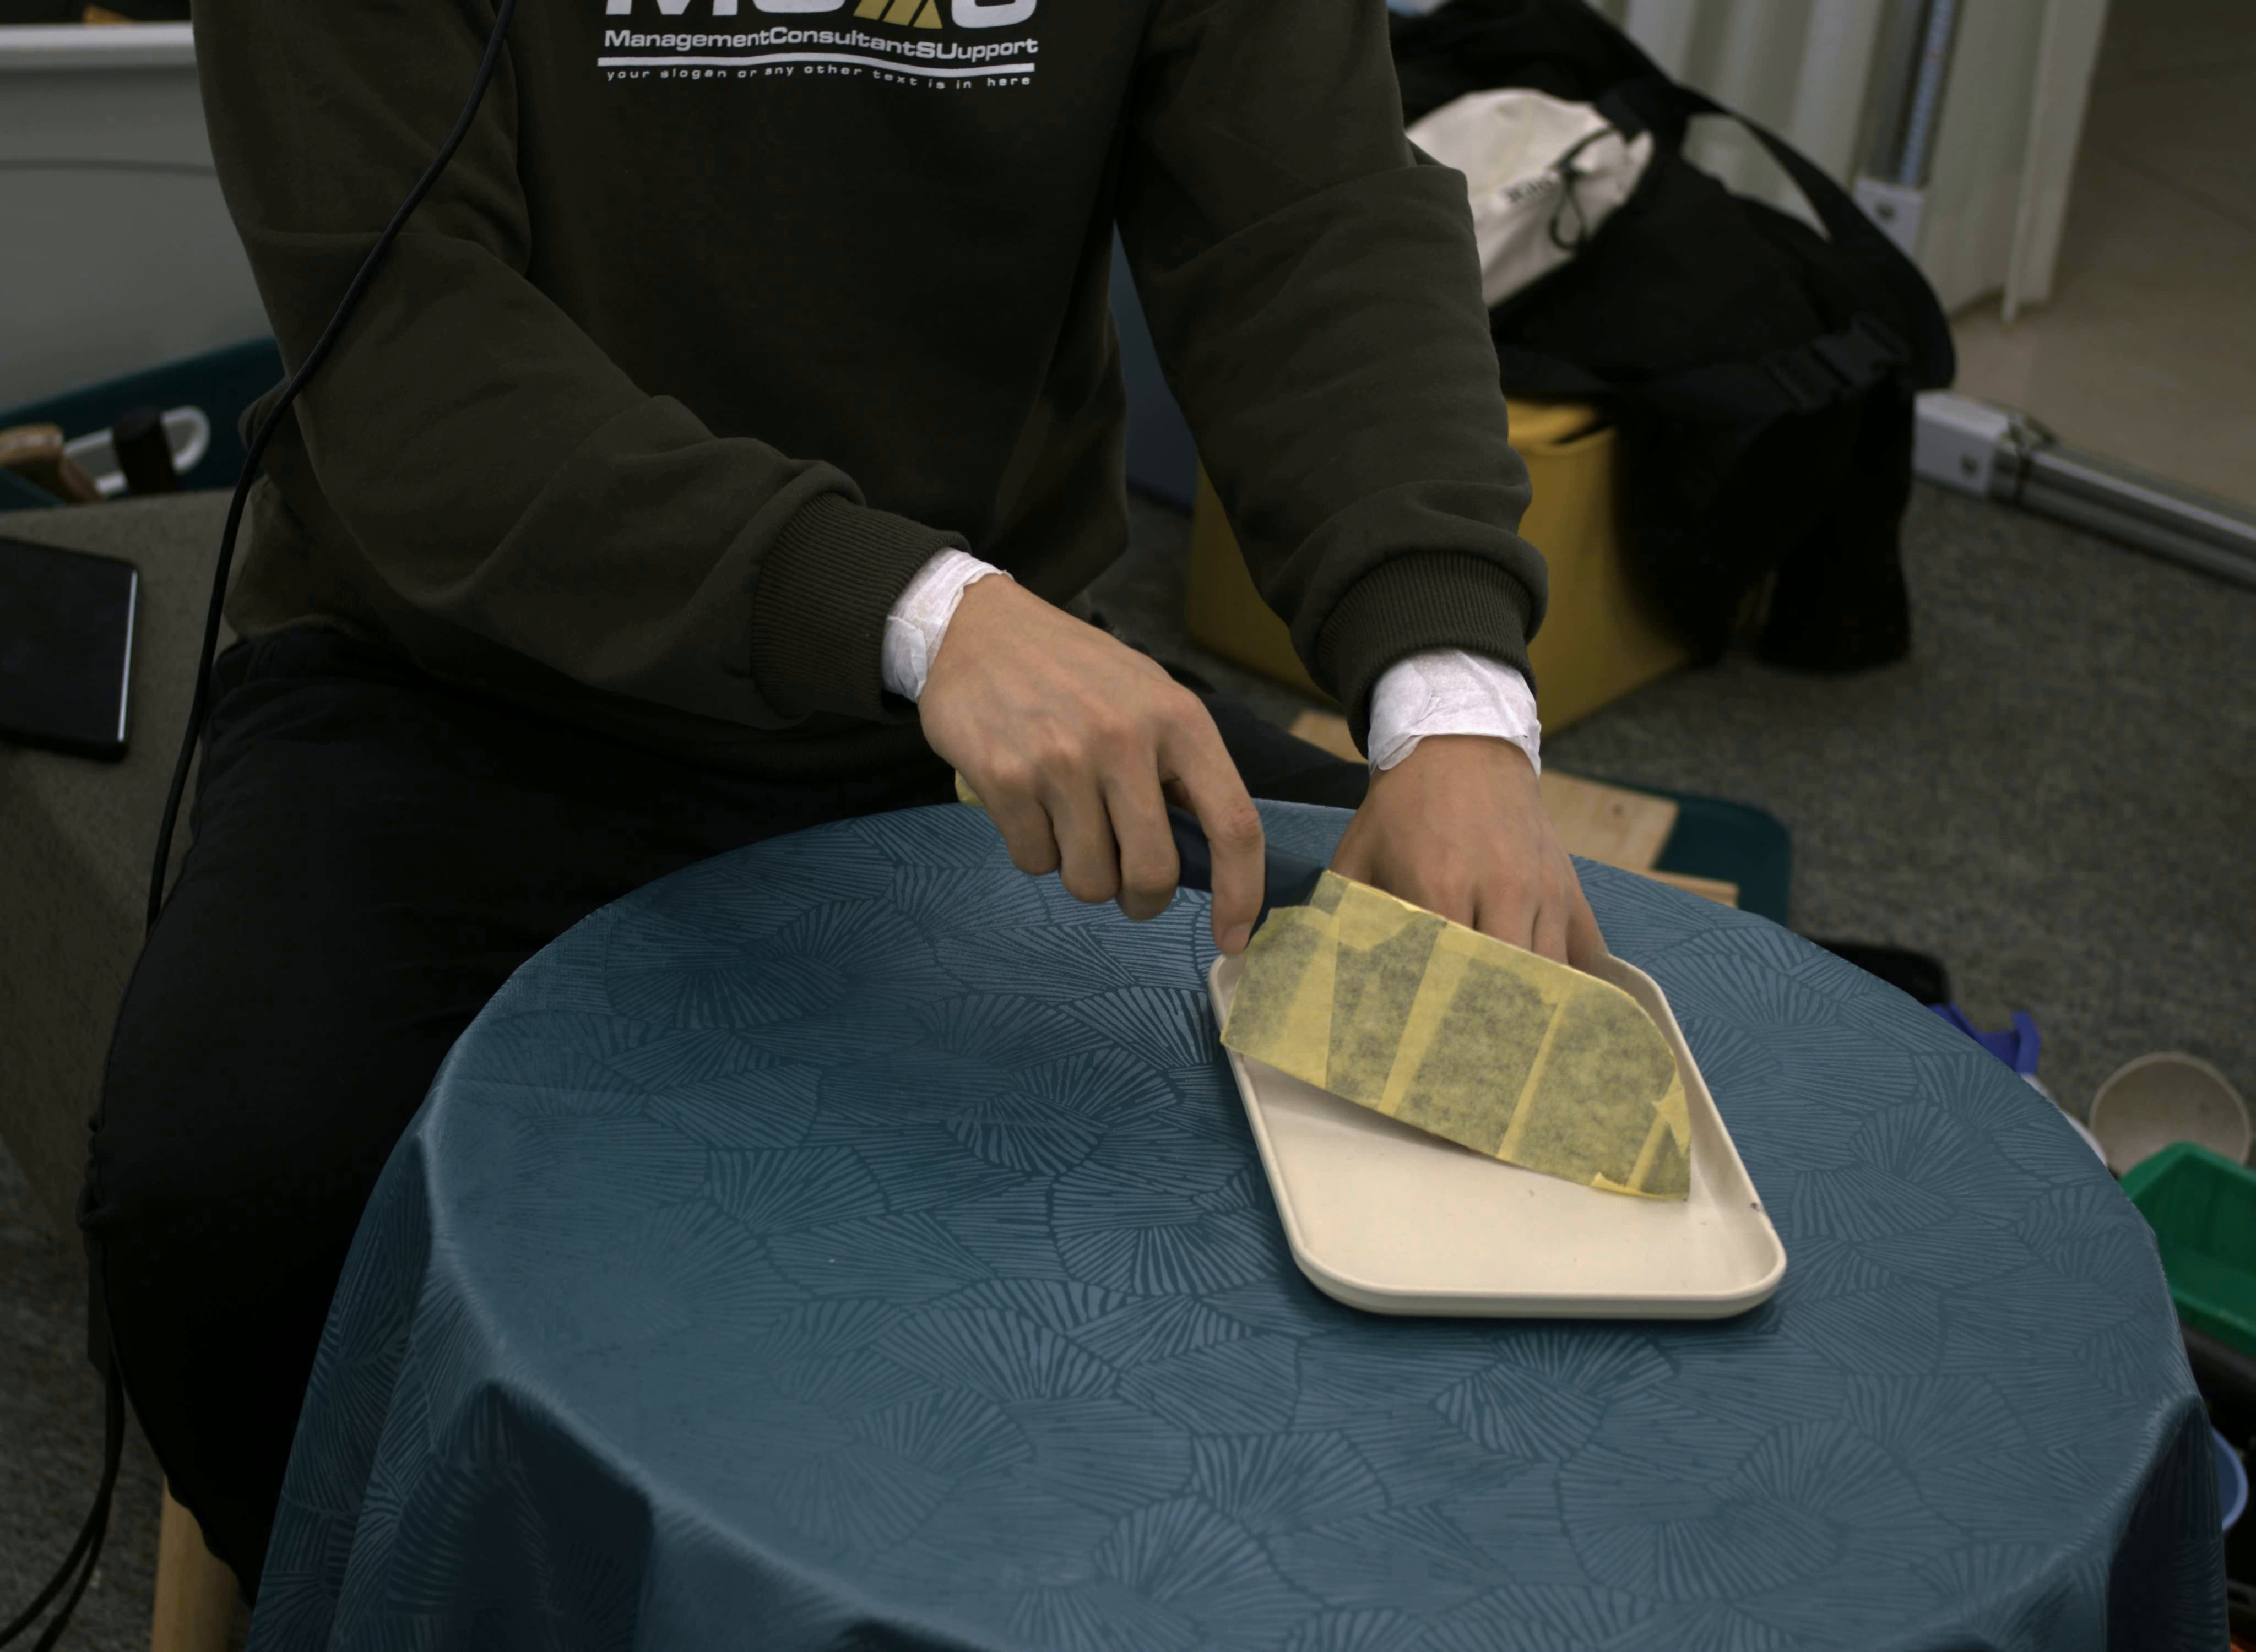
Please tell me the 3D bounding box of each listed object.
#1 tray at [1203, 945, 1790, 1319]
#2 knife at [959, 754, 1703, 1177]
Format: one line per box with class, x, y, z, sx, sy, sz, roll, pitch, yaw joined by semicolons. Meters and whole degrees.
tray;0.123;0.105;1.850;0.170;0.017;0.241;1;27;-10
knife;0.067;0.048;1.848;0.290;0.081;0.027;25;9;11
